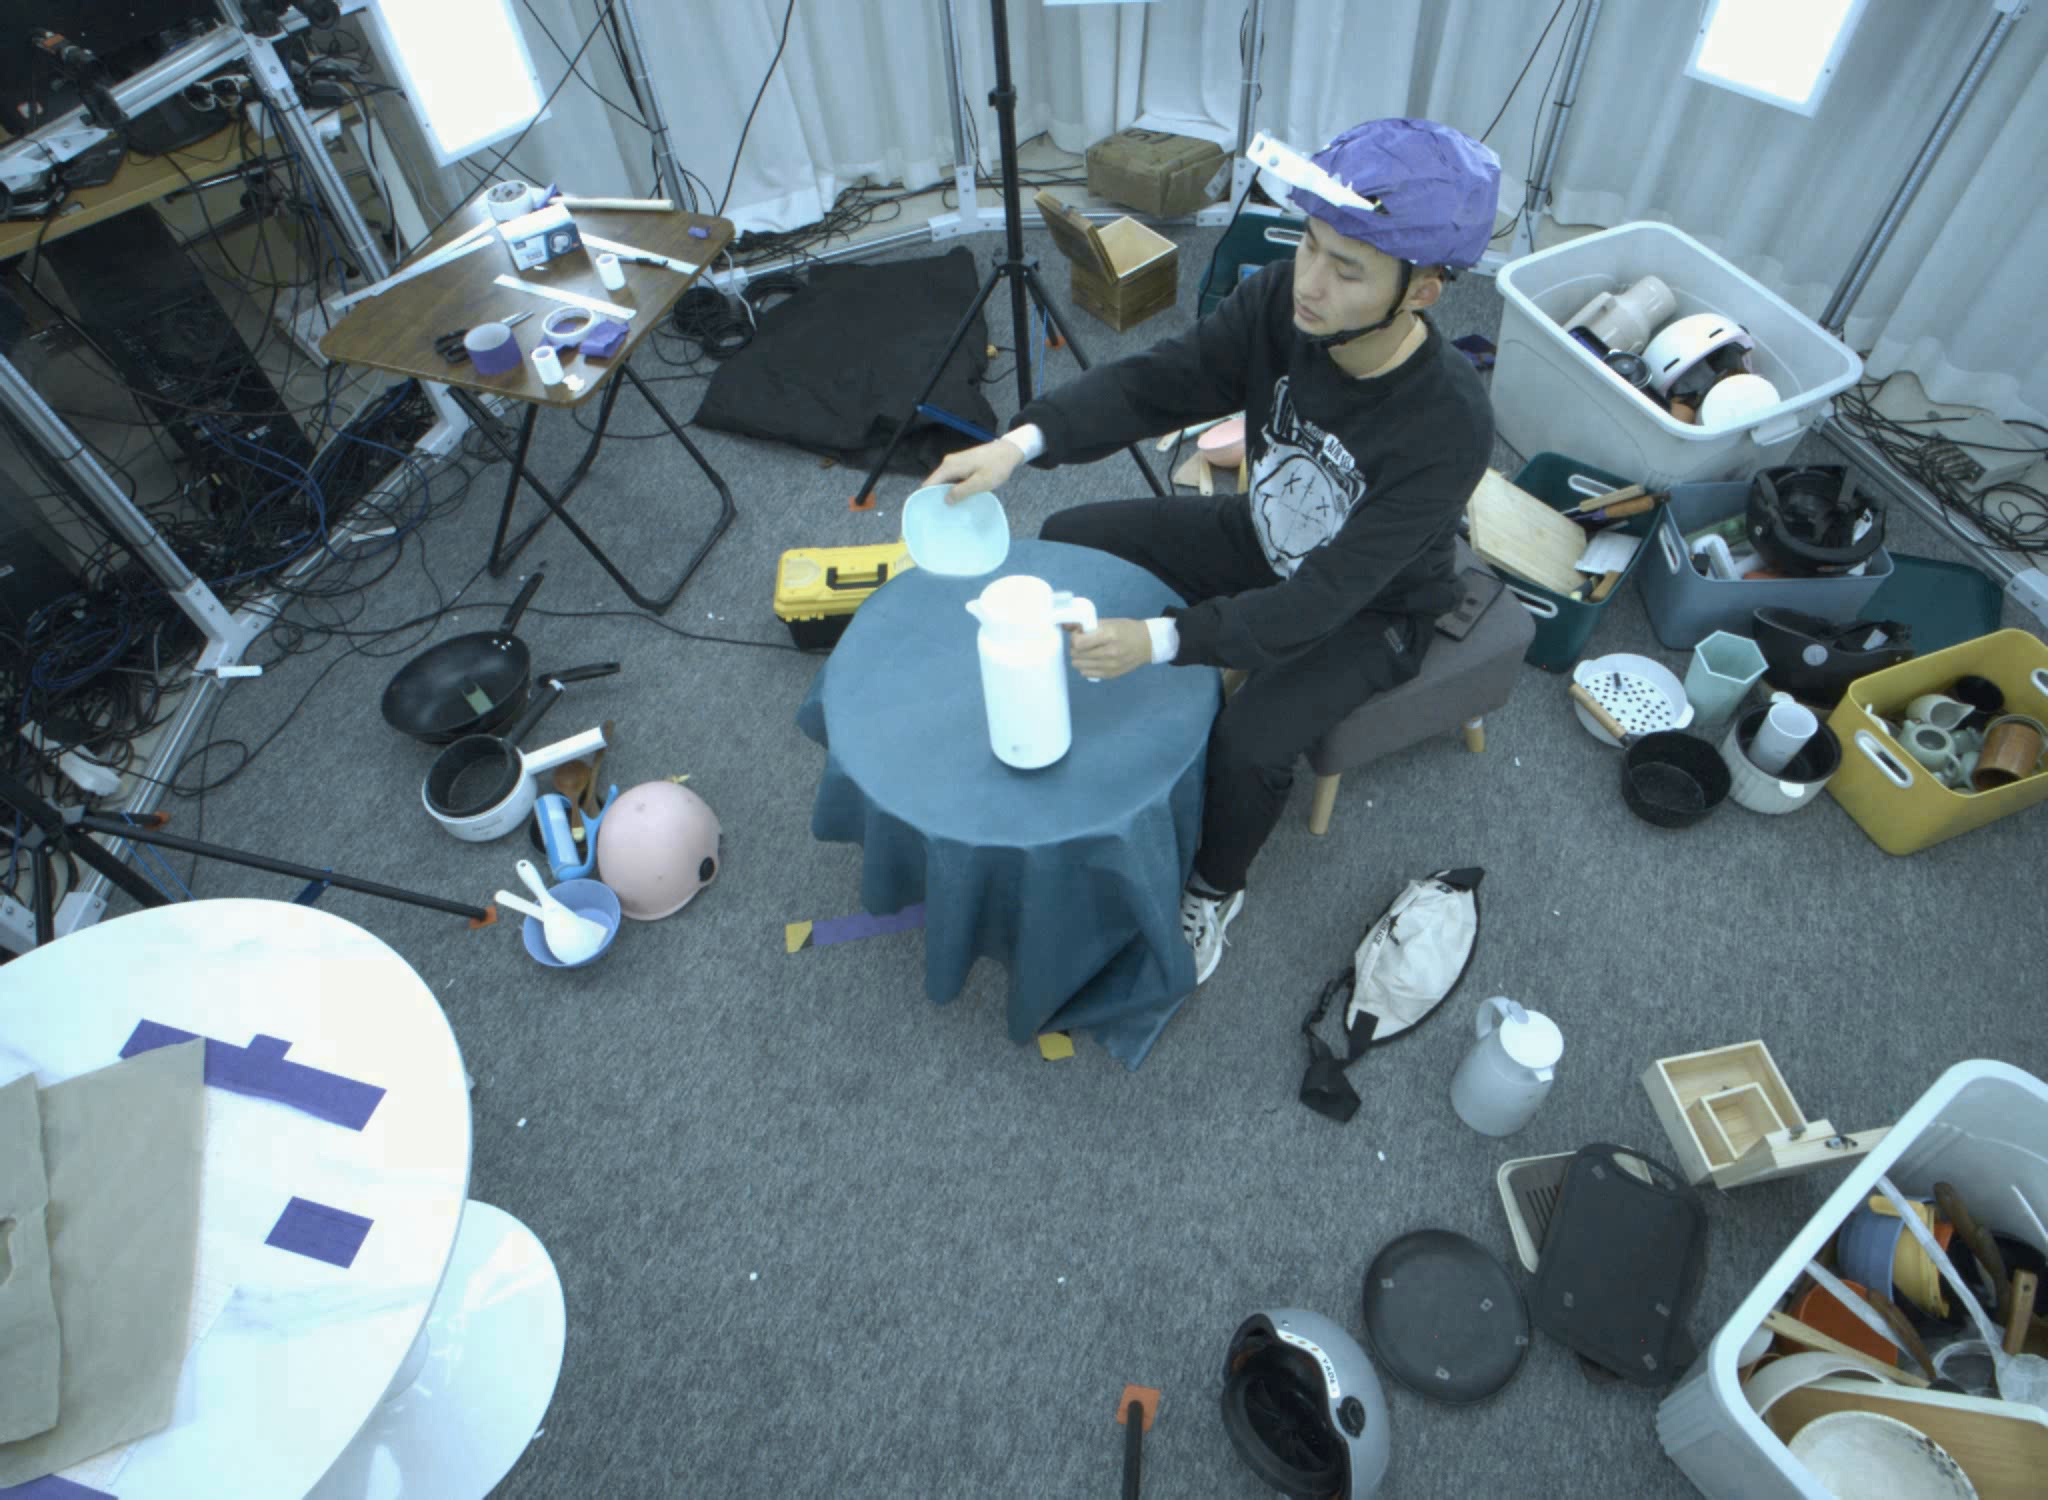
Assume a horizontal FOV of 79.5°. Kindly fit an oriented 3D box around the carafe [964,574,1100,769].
[{"bbox_3d":[0.018,-0.107,1.688,0.173,0.272,0.122,-5,42,1],"label":"carafe"}]

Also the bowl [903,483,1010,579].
[{"bbox_3d":[-0.093,-0.278,1.606,0.153,0.058,0.150,5,68,-12],"label":"bowl"}]
